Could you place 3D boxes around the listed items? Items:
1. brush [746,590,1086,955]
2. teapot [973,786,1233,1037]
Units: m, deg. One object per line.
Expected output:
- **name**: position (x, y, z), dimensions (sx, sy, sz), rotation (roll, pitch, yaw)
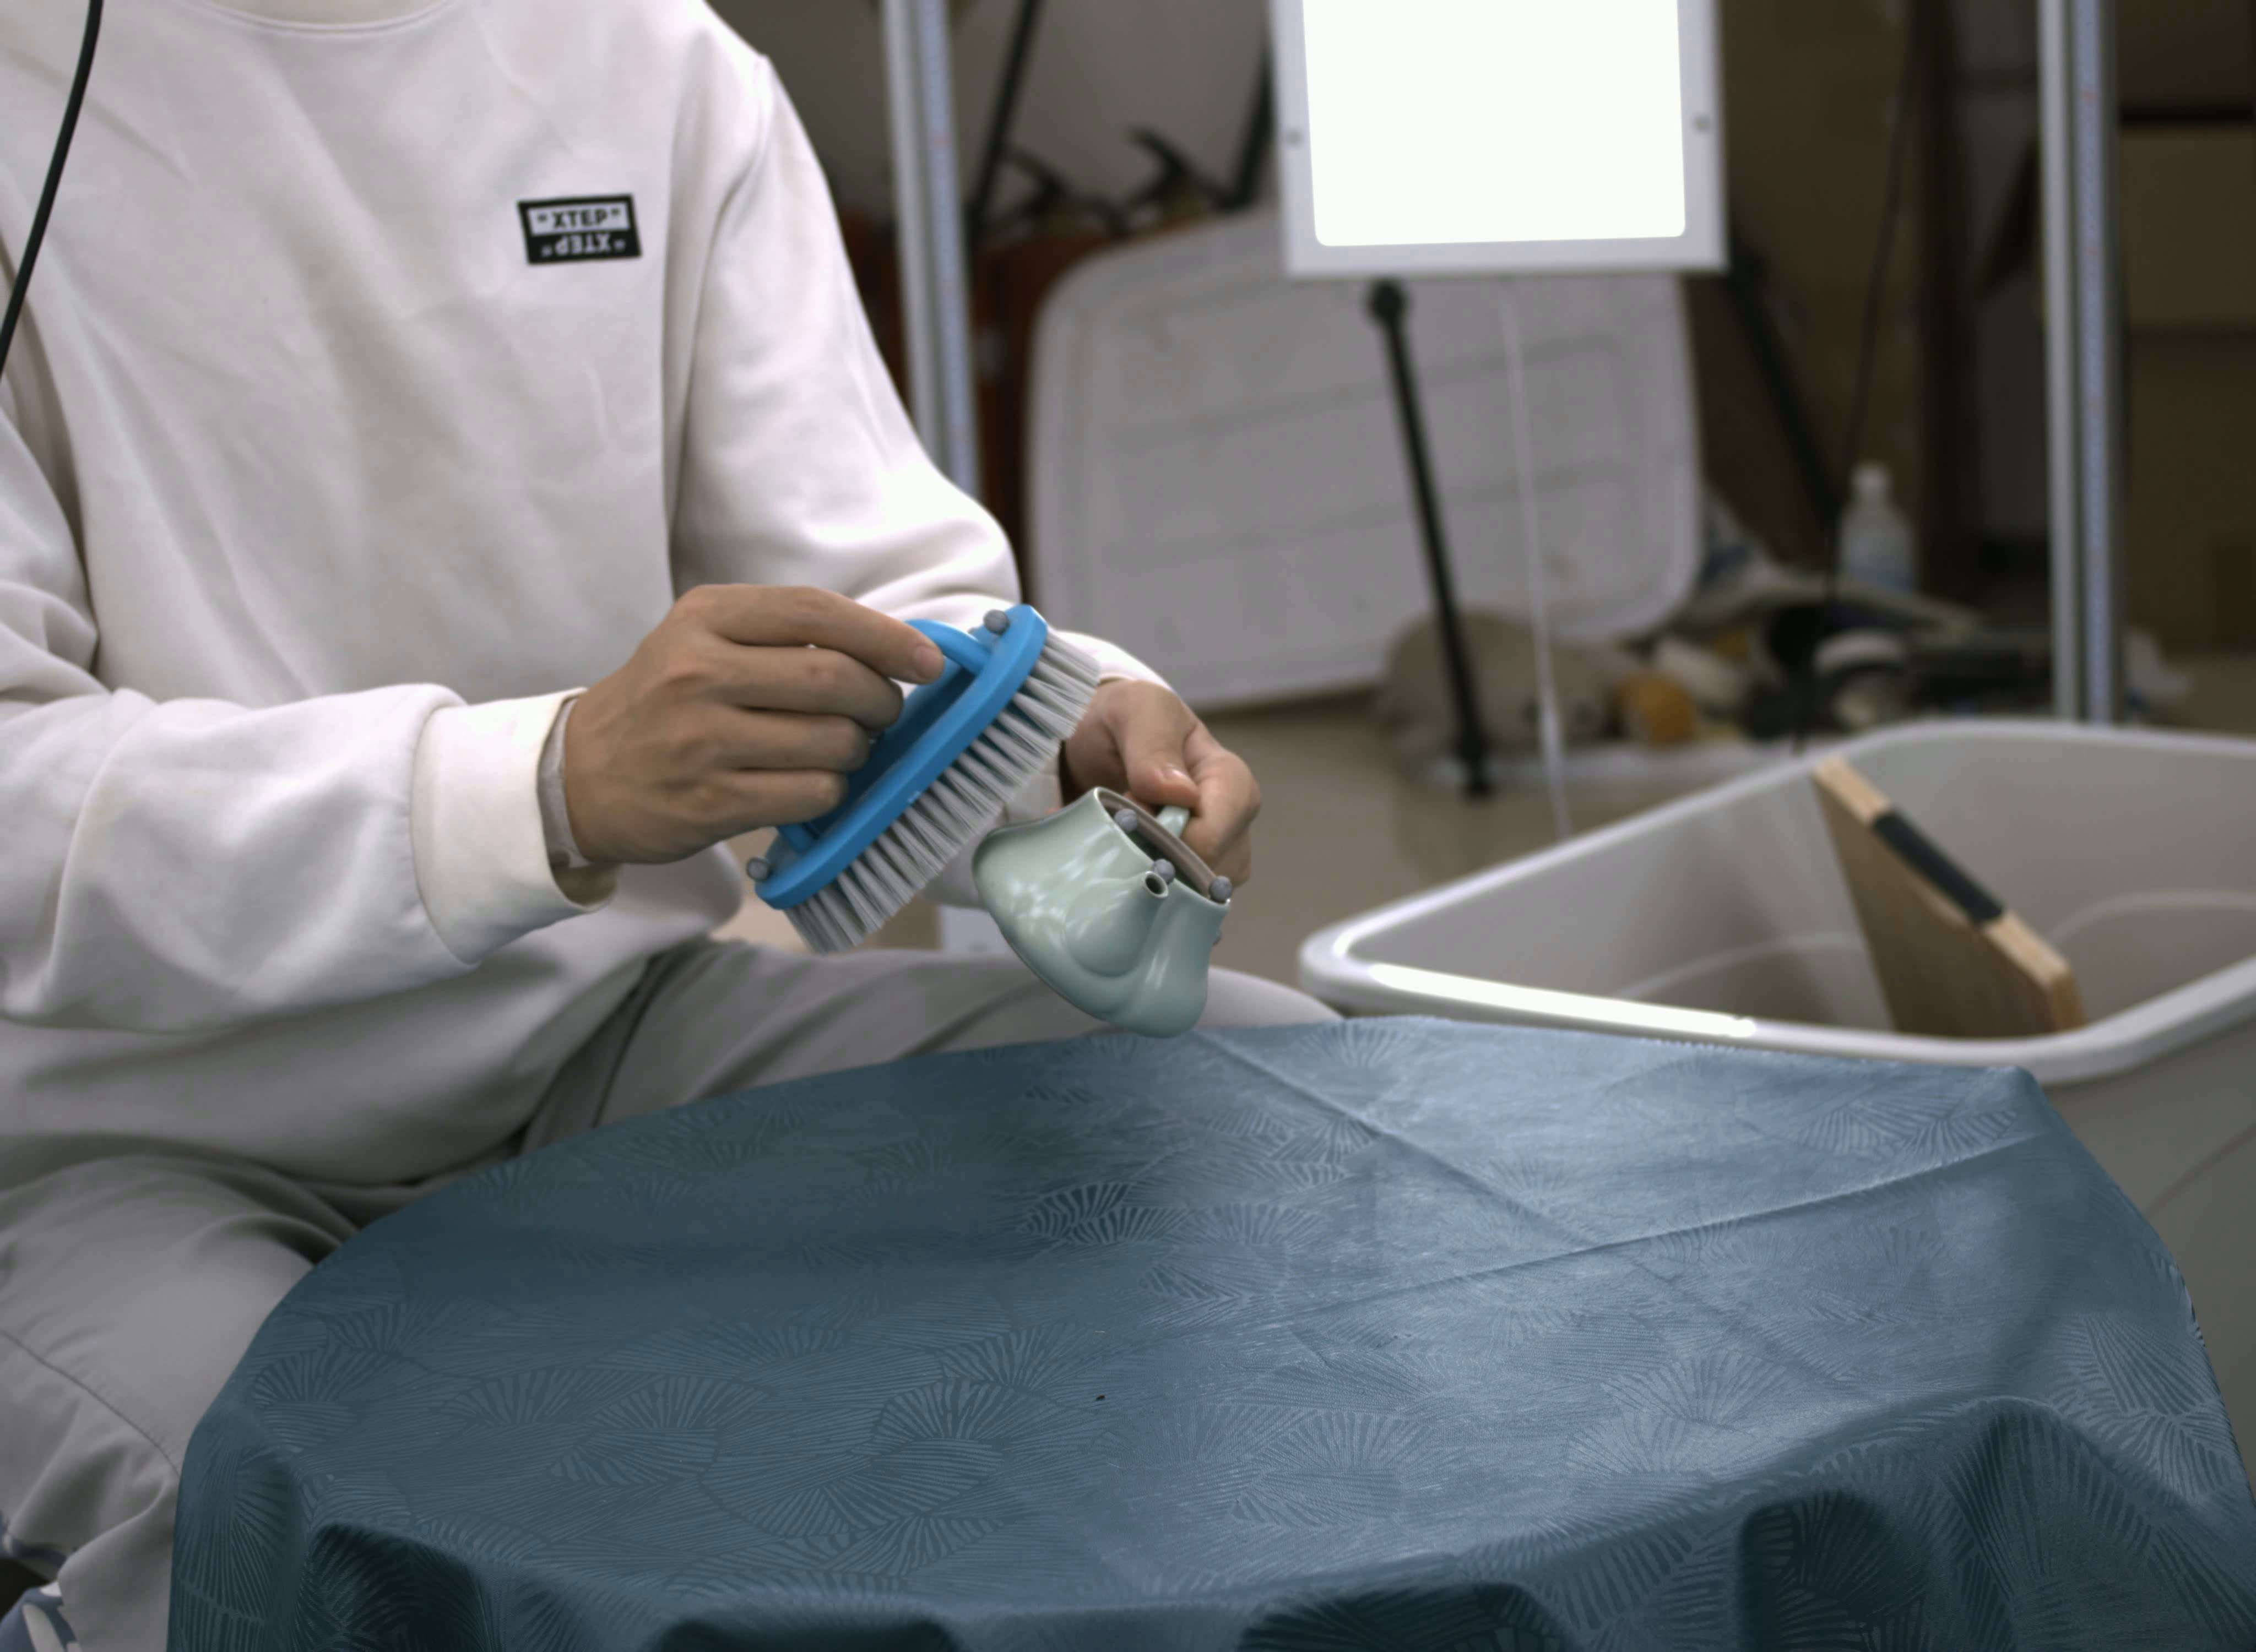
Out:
- **brush**: position (-0.082, -0.025, 1.871), dimensions (0.143, 0.063, 0.084), rotation (-46, 22, 13)
- **teapot**: position (-0.004, 0.025, 1.874), dimensions (0.096, 0.062, 0.136), rotation (37, 13, -6)
